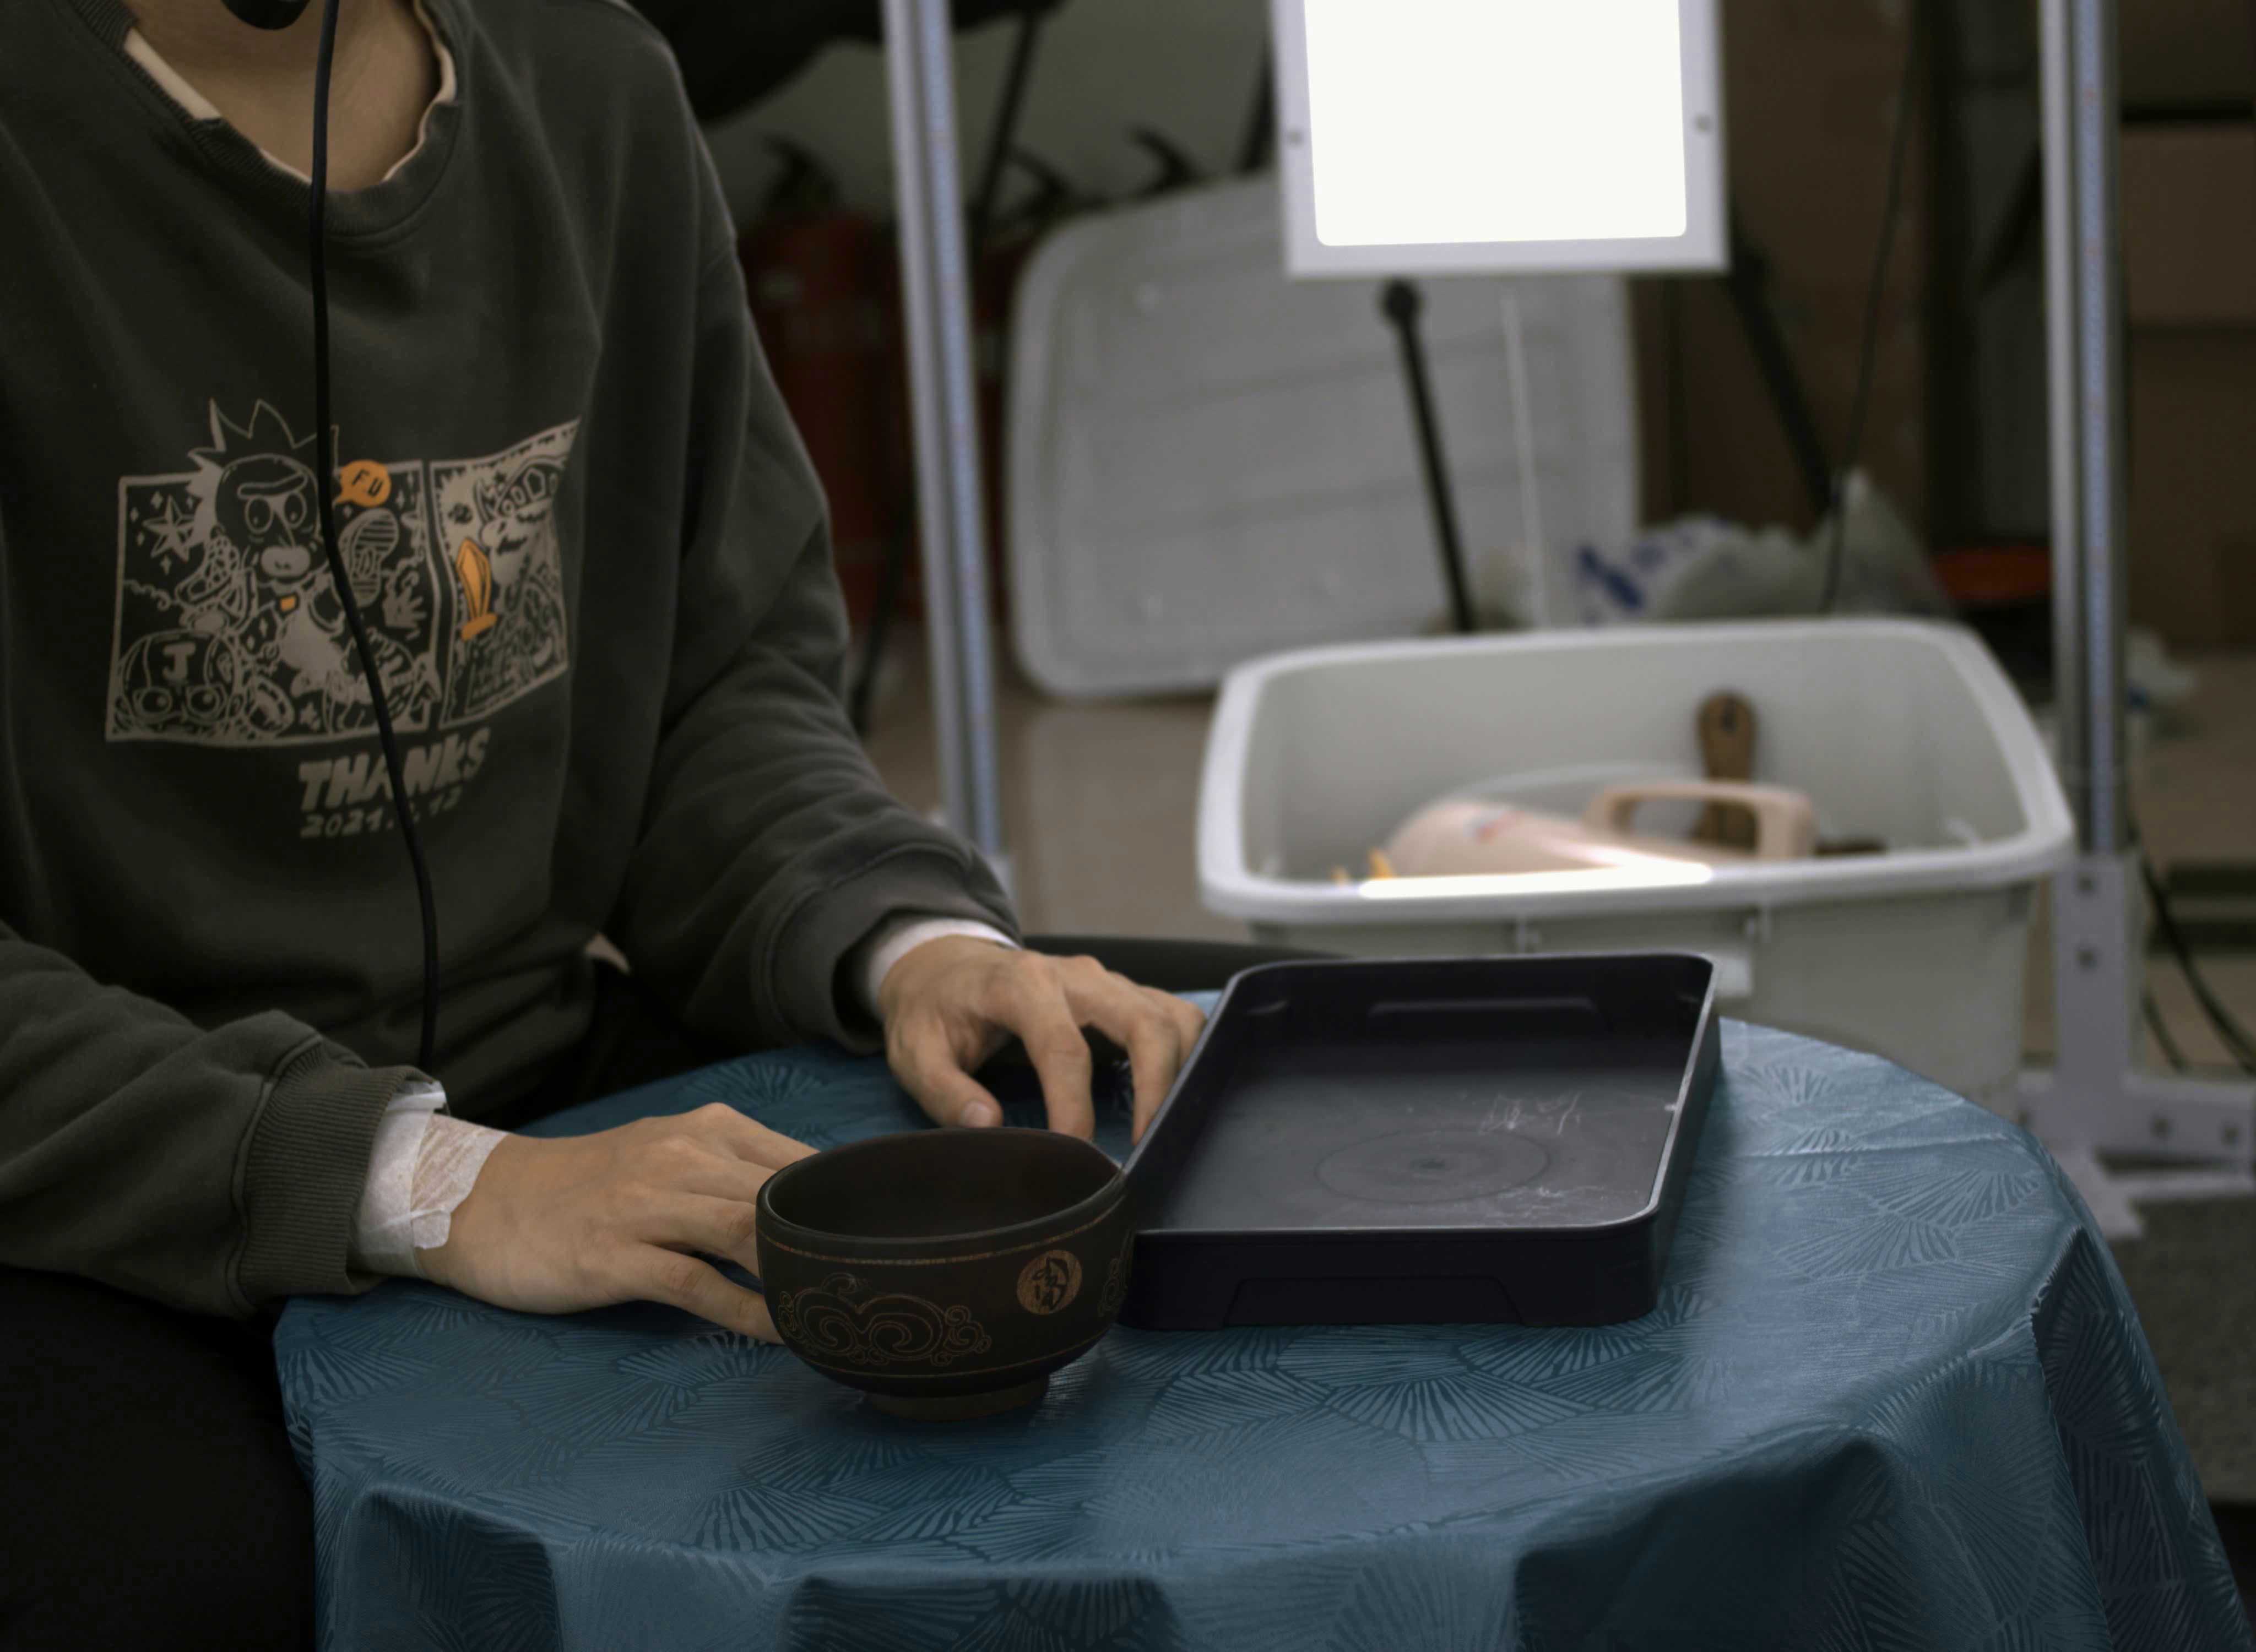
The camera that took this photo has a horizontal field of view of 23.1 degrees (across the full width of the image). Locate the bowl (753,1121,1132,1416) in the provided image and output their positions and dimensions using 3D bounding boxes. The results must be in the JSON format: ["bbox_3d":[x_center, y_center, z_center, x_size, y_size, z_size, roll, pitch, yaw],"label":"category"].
[{"bbox_3d":[-0.056,0.141,1.708,0.118,0.070,0.118,-6,13,0],"label":"bowl"}]

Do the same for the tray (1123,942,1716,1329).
[{"bbox_3d":[0.105,0.102,1.884,0.185,0.037,0.315,-3,14,10],"label":"tray"}]
